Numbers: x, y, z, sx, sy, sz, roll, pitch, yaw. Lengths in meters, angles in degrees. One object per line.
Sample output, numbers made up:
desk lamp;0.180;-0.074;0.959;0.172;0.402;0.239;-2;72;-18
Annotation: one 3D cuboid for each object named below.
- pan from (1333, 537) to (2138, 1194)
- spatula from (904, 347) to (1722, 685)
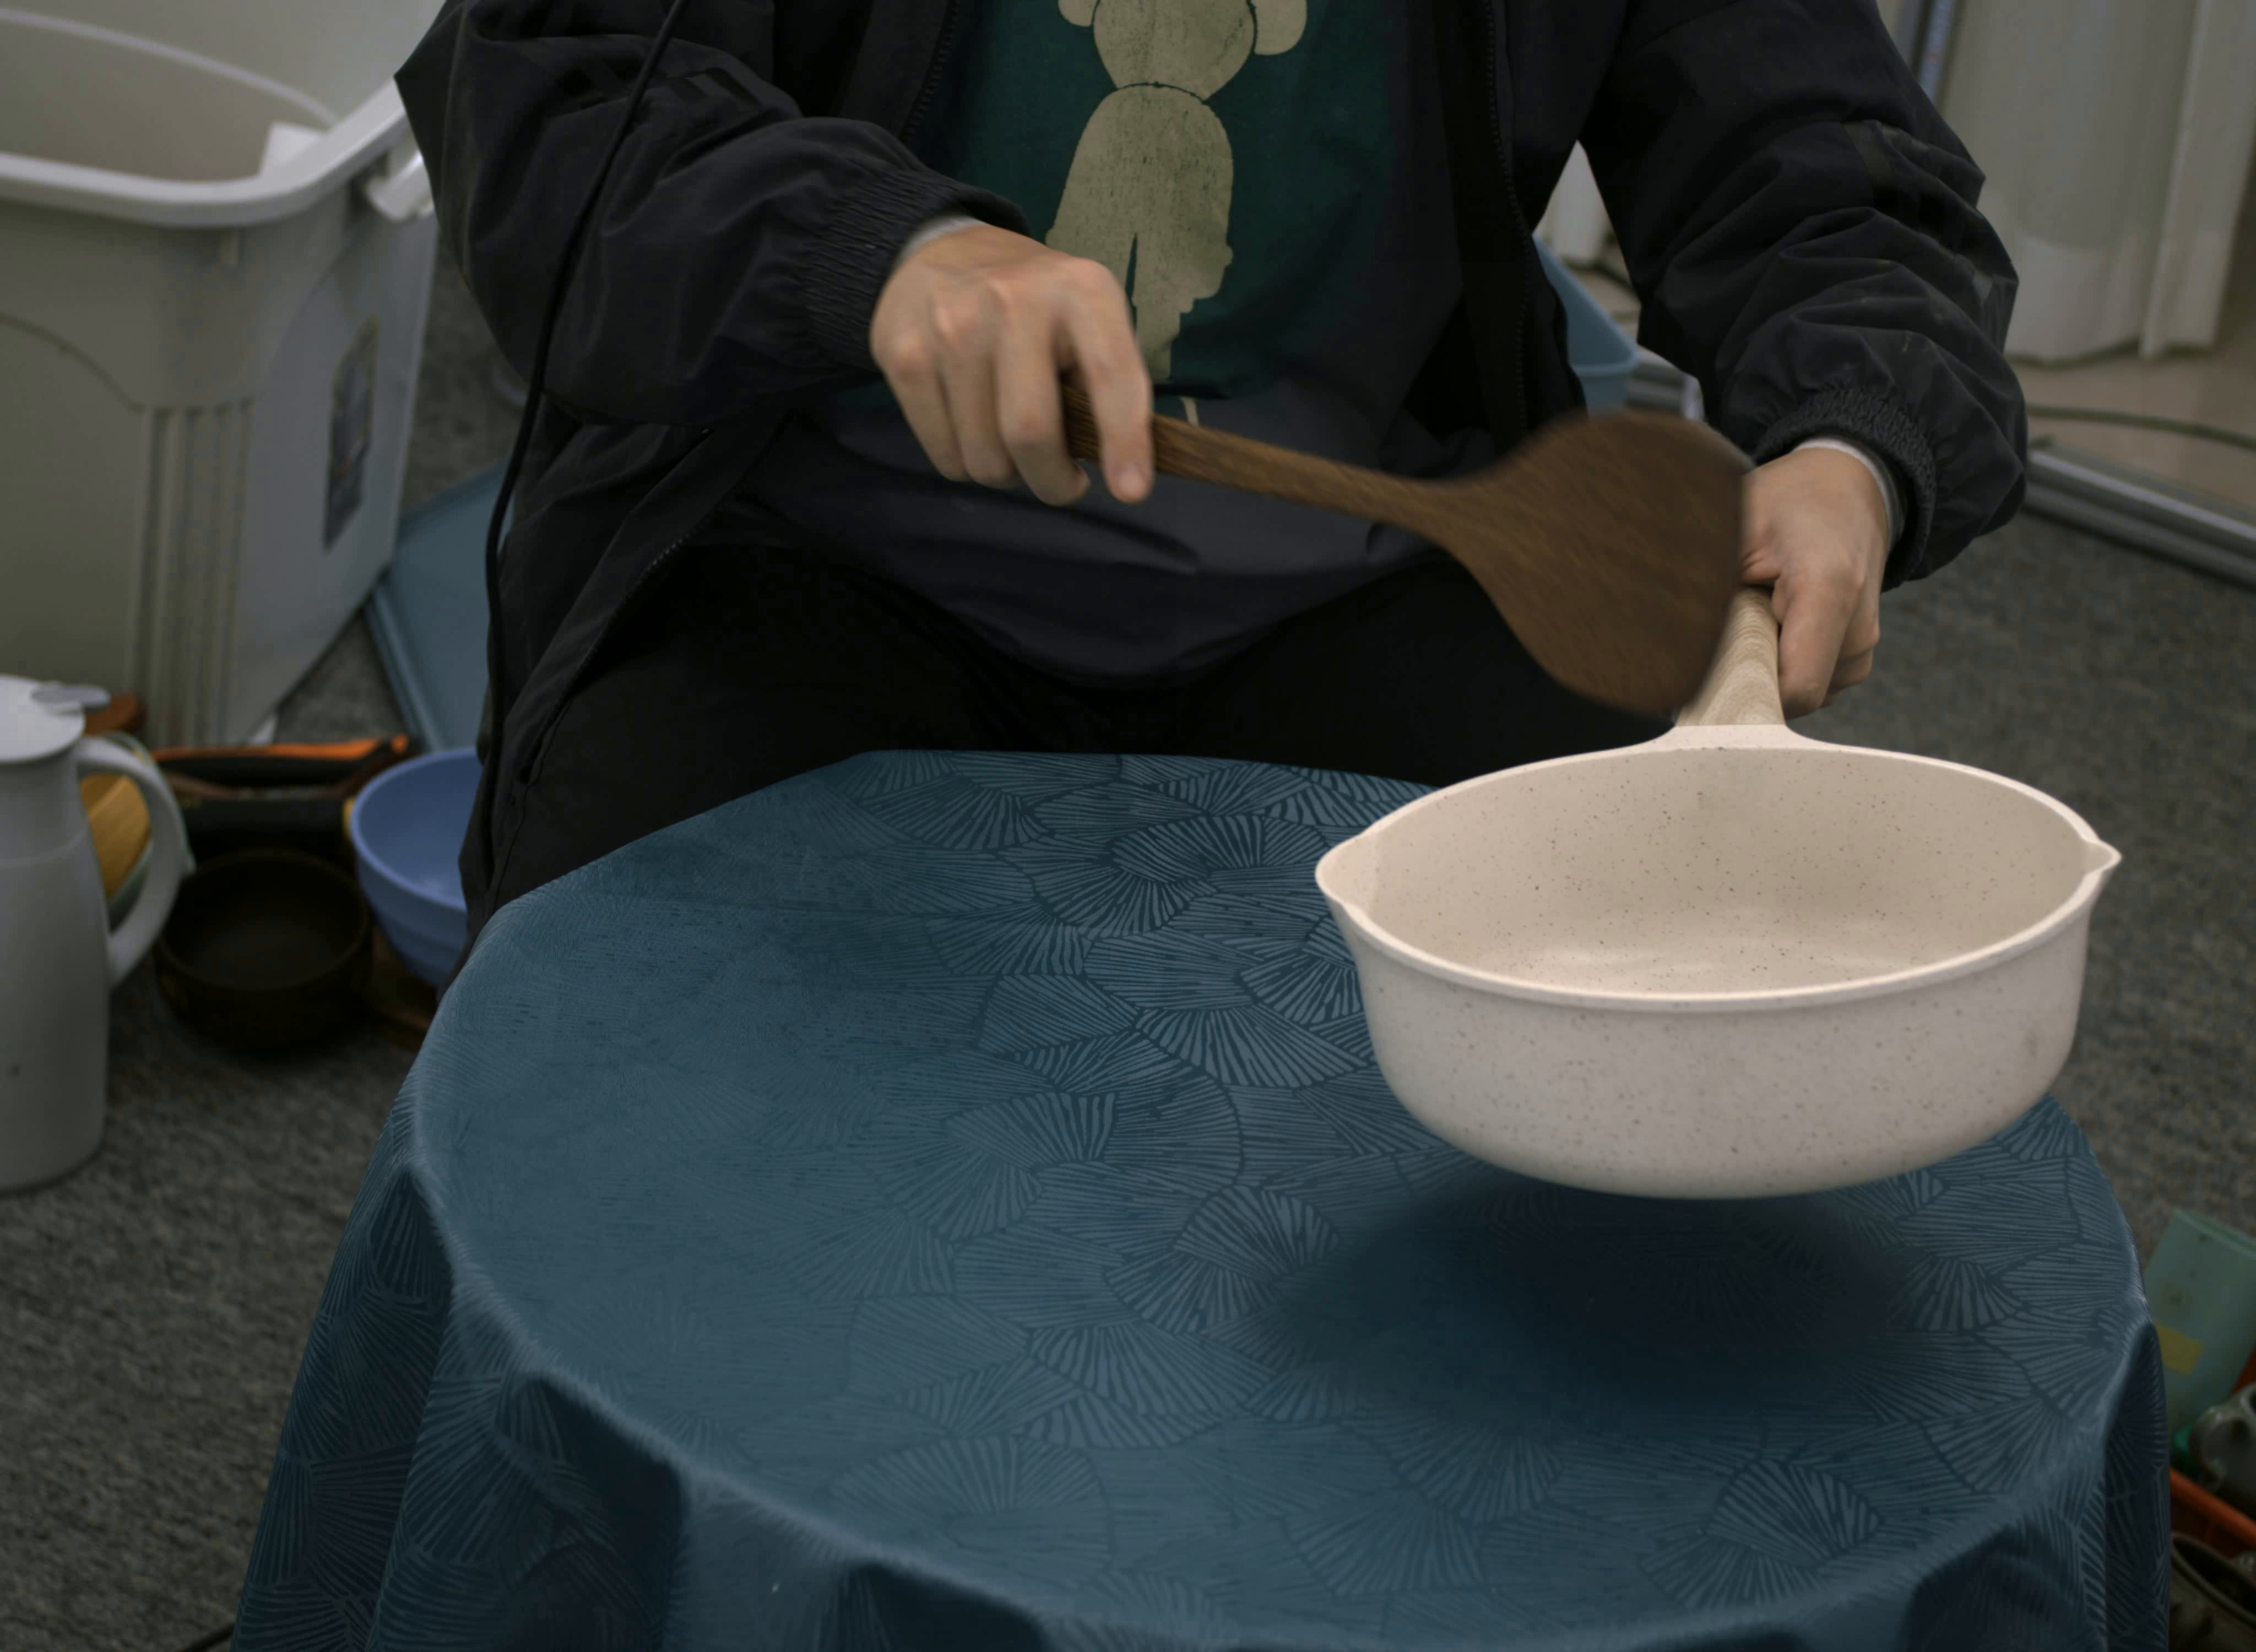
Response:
pan;0.213;0.010;1.838;0.263;0.102;0.436;-3;19;9
spatula;0.052;-0.123;1.788;0.015;0.096;0.388;-3;13;-42
